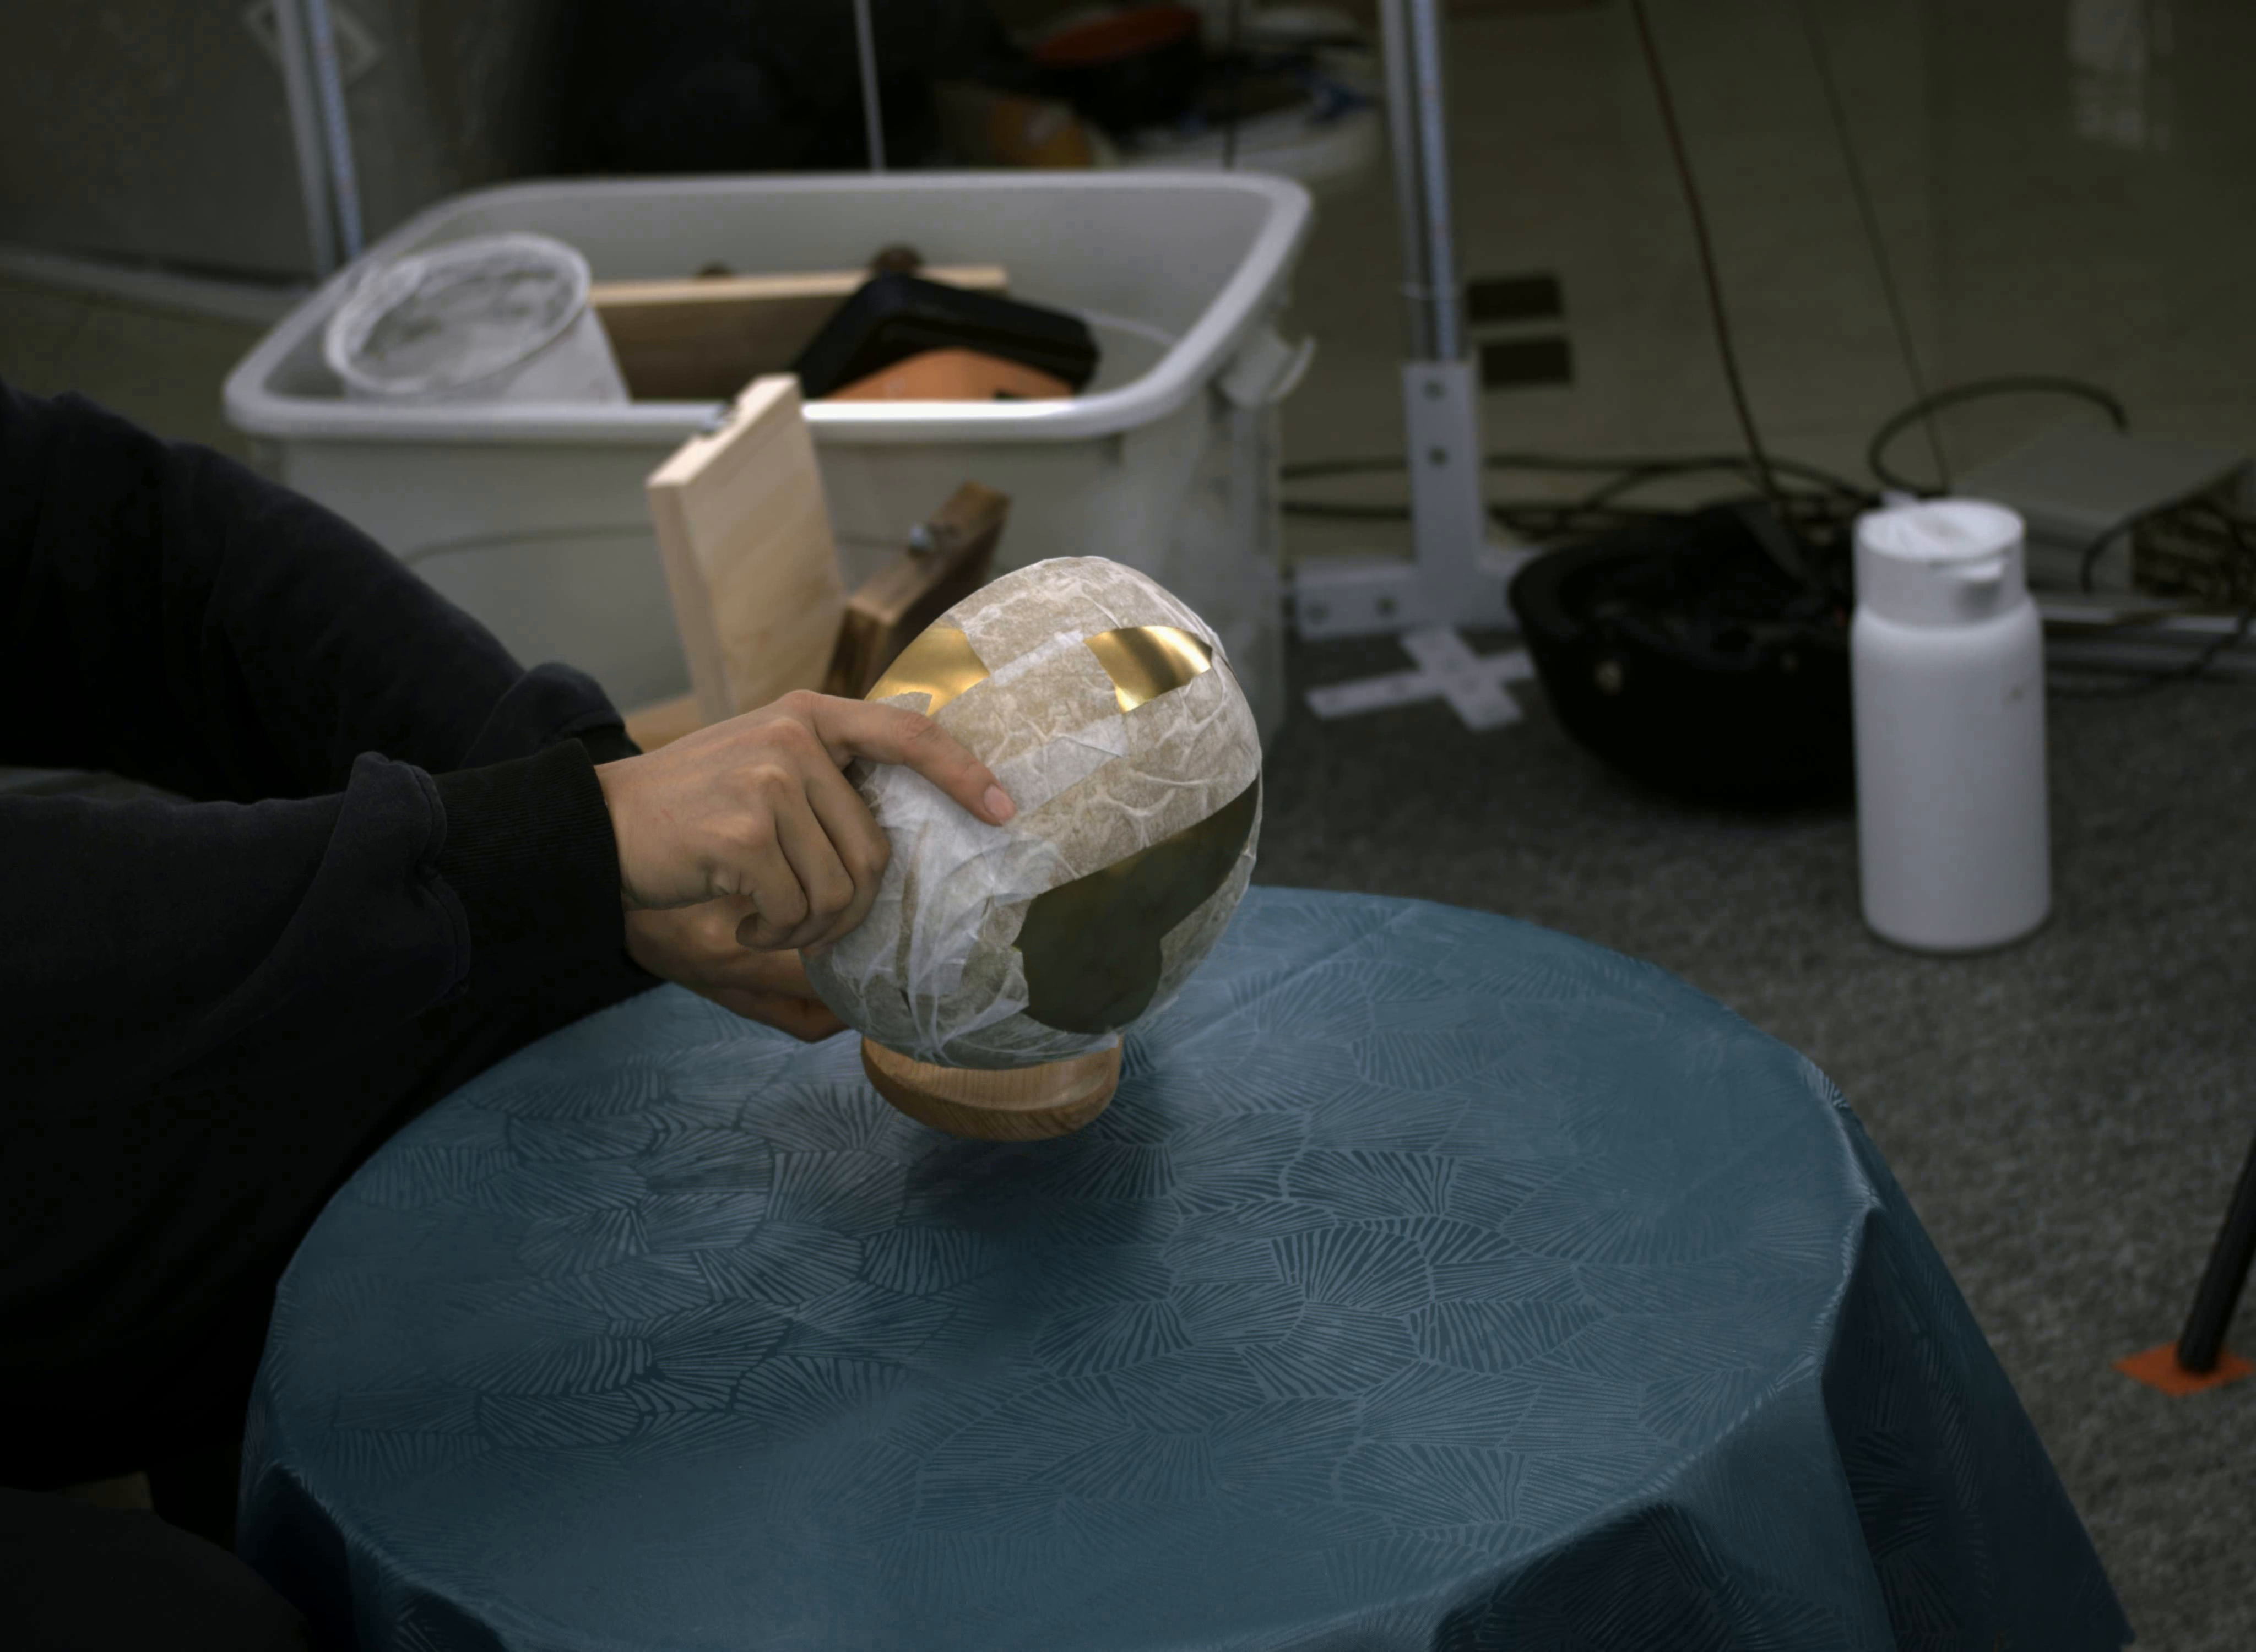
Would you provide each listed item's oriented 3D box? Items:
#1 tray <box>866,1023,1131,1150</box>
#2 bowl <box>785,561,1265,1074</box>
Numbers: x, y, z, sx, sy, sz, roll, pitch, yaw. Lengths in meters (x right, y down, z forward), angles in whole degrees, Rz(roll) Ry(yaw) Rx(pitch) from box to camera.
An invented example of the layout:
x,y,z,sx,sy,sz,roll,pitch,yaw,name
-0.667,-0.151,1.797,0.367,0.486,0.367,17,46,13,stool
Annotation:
x,y,z,sx,sy,sz,roll,pitch,yaw,name
-0.048,0.064,2.231,0.101,0.020,0.227,7,29,-2,tray
-0.020,0.015,2.091,0.213,0.219,0.093,-25,46,-35,bowl
